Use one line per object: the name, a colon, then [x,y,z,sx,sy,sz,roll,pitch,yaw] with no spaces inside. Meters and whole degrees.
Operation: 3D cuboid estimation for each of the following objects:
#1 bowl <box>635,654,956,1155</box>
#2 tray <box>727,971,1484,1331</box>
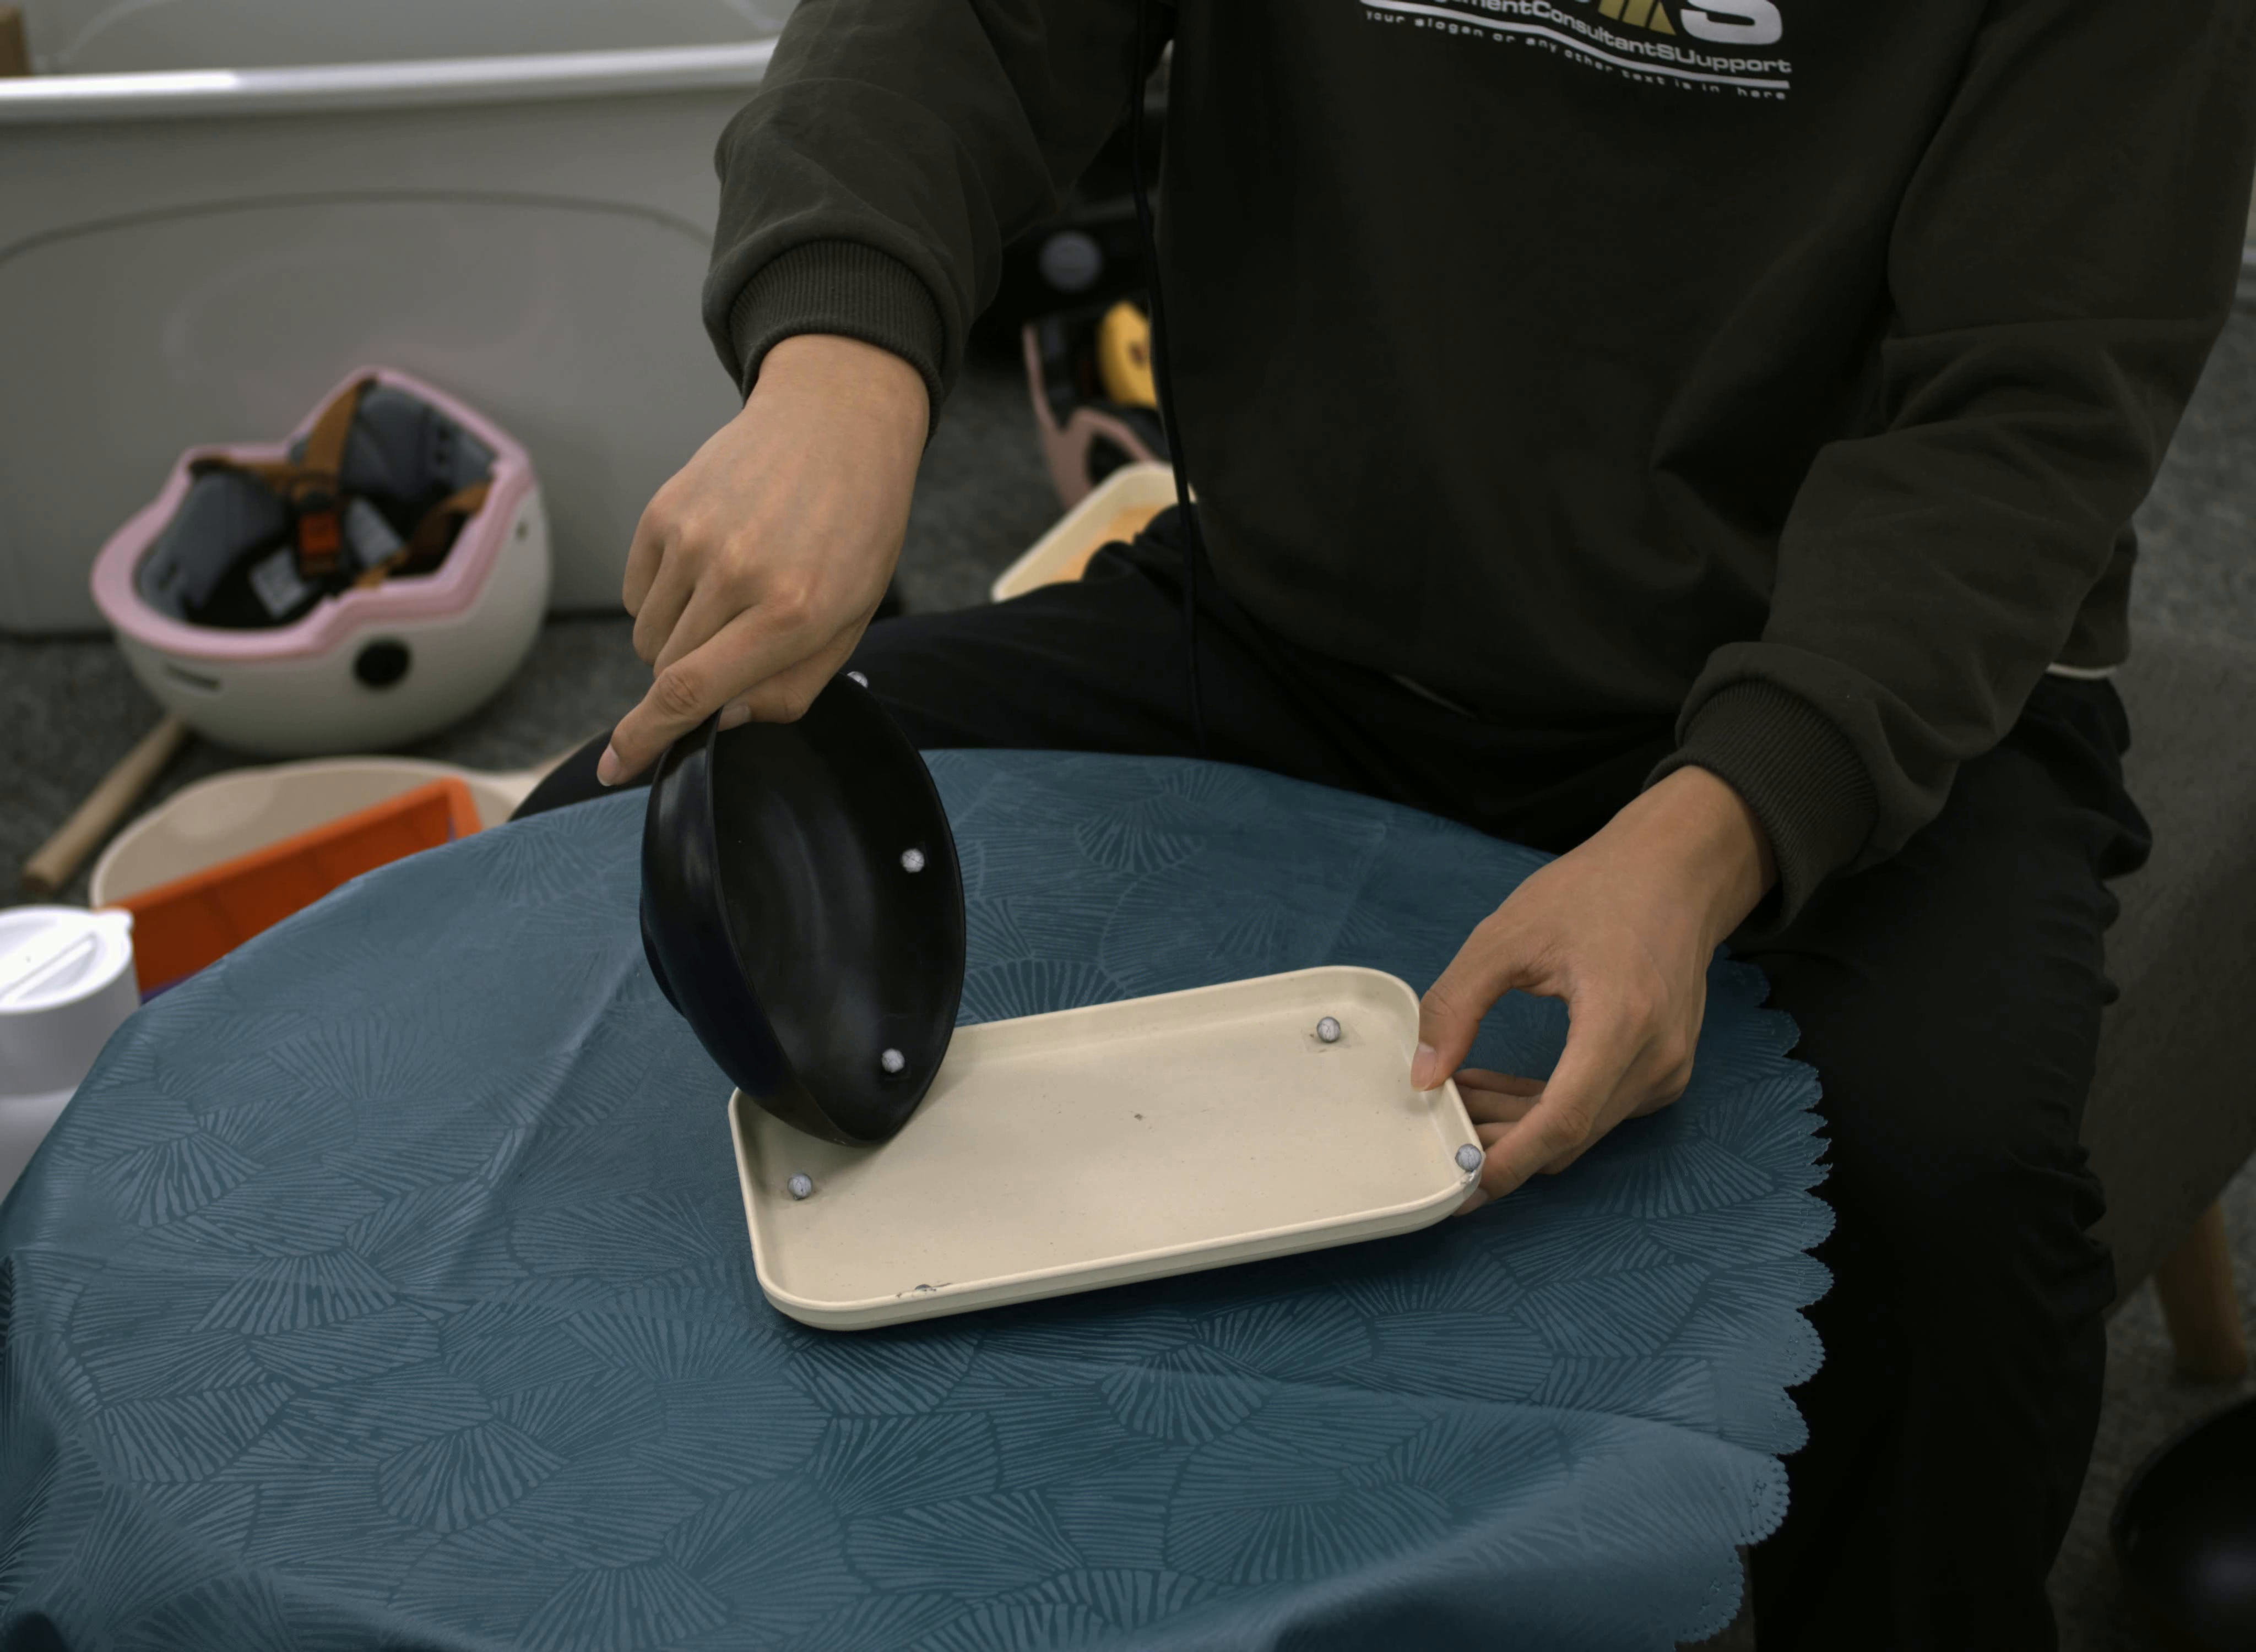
bowl: [-0.119,0.028,1.884,0.066,0.170,0.139,-9,16,33]
tray: [-0.010,0.108,1.860,0.239,0.017,0.173,-9,25,-6]
